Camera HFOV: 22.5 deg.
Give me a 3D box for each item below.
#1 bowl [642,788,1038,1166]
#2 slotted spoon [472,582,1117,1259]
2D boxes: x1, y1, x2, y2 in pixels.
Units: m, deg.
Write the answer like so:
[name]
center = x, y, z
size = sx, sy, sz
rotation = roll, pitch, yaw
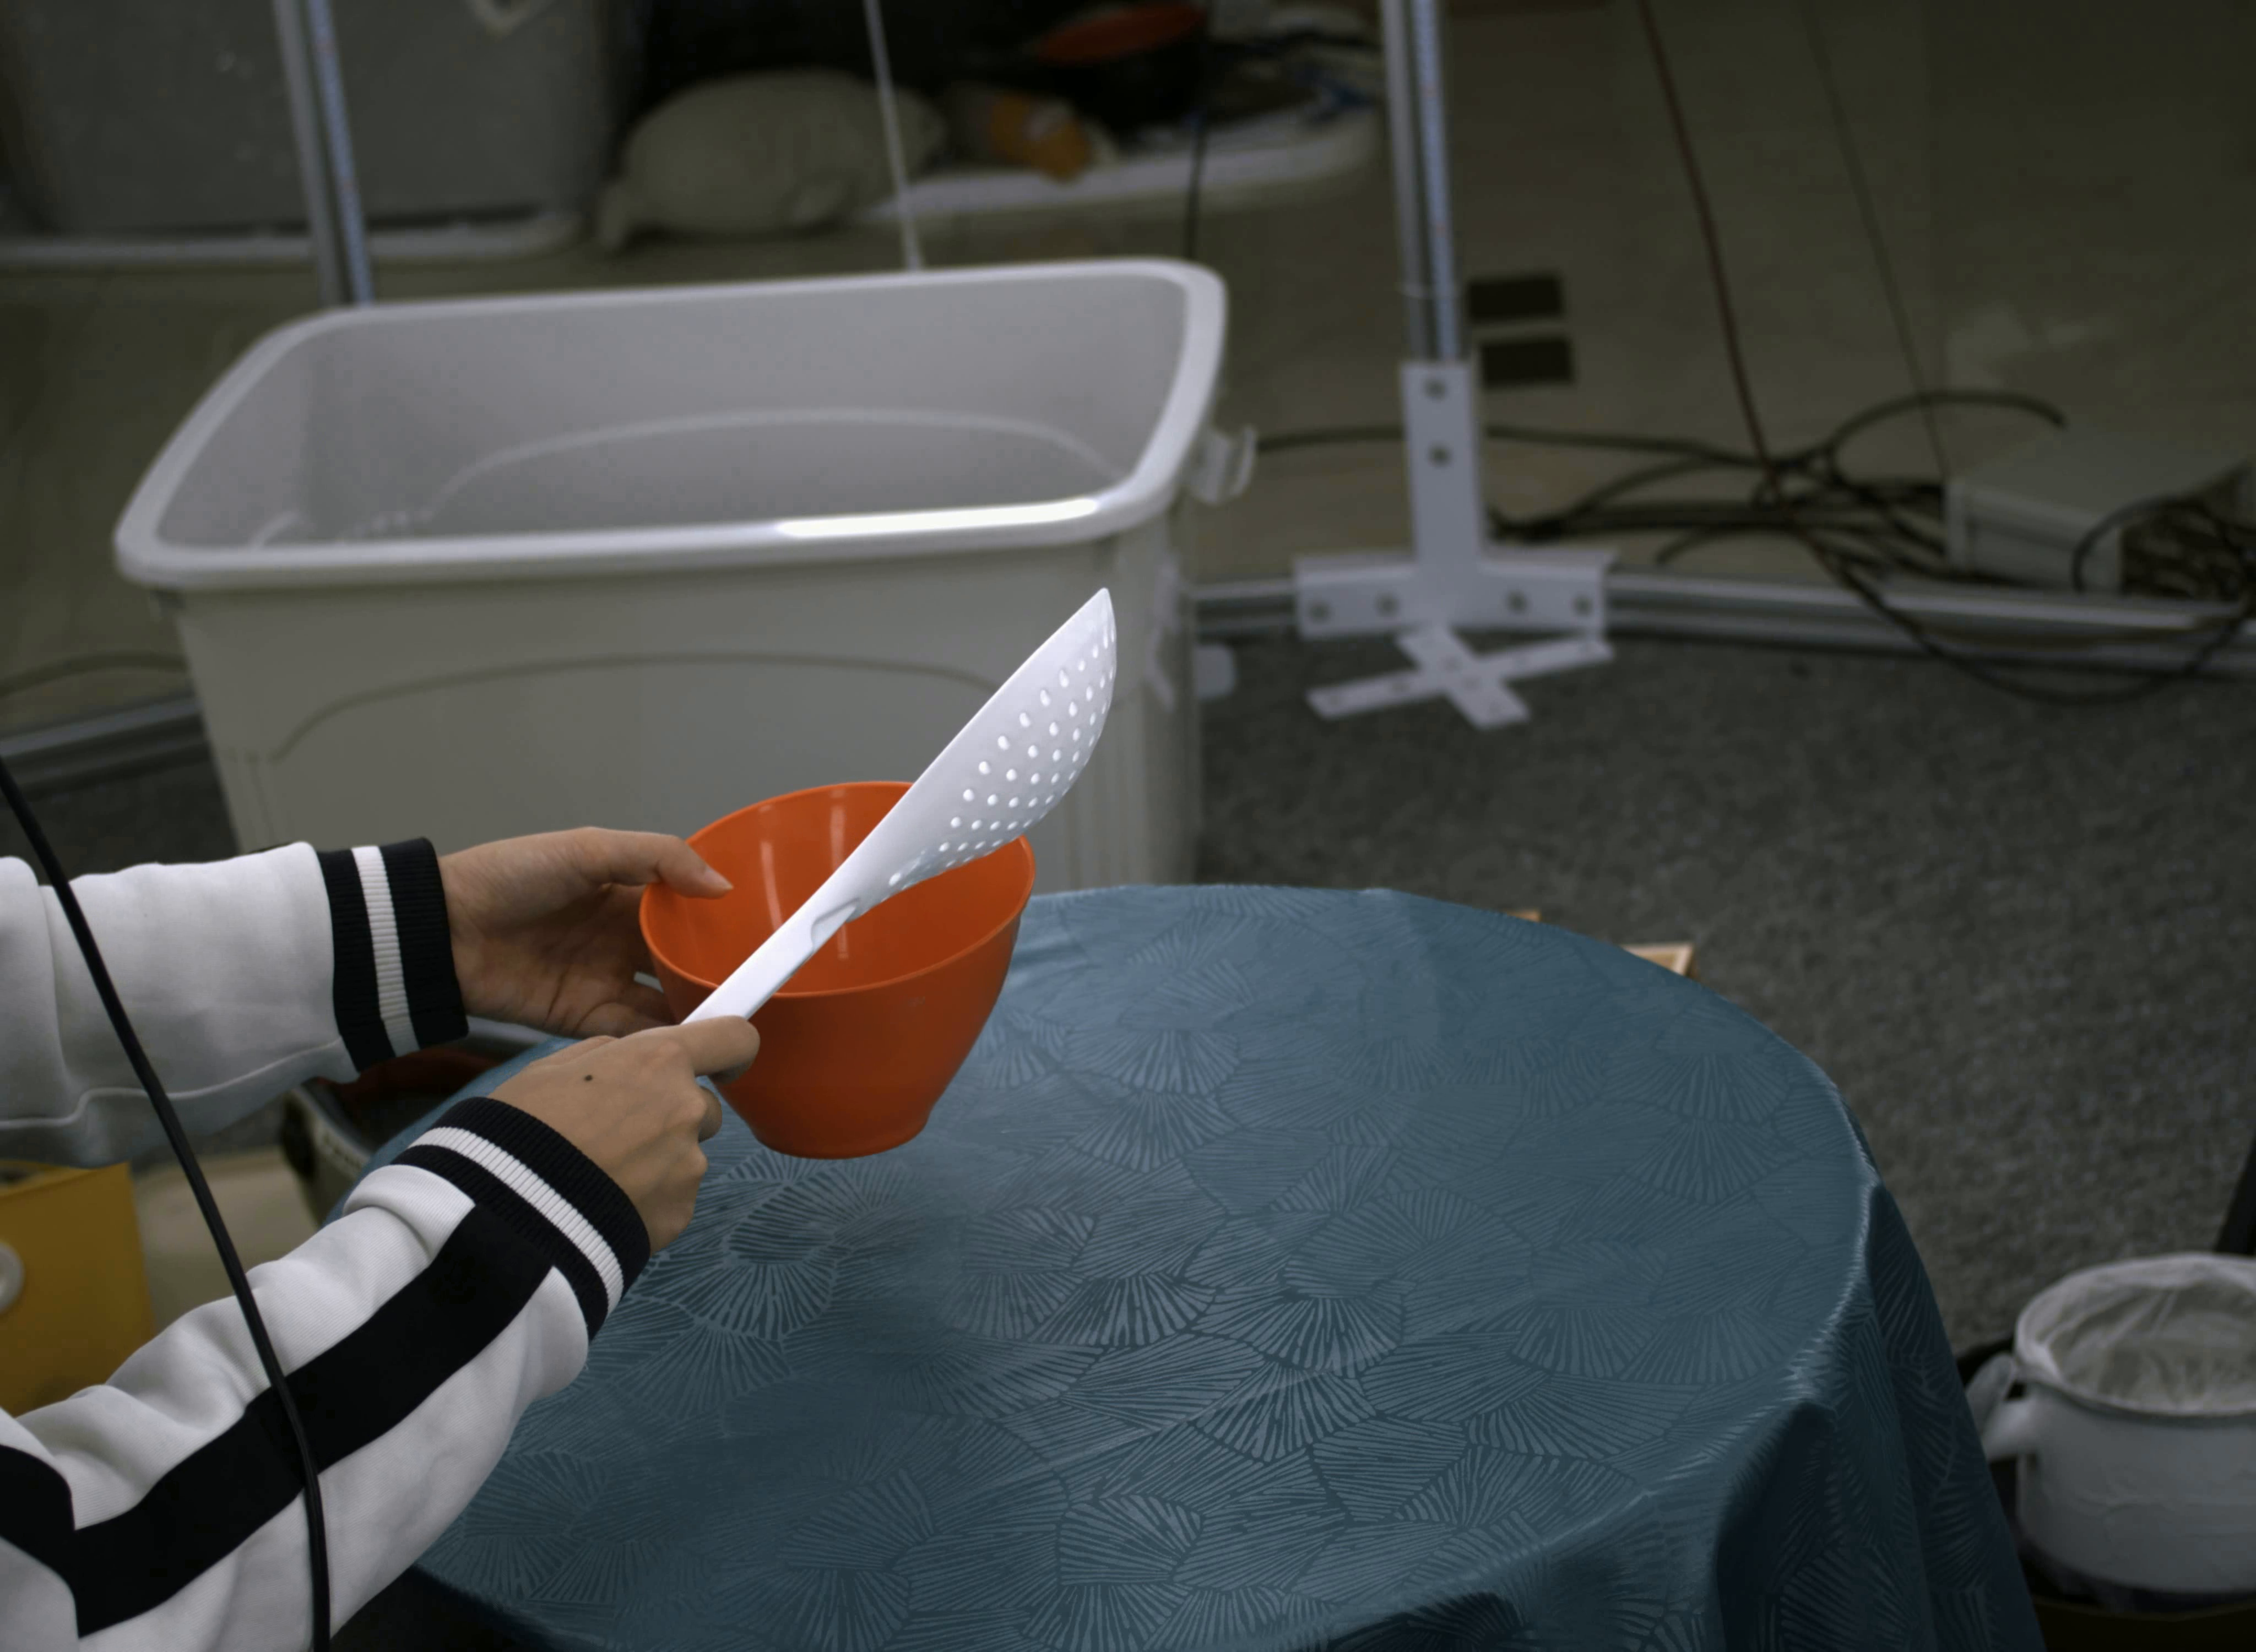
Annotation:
[bowl]
center = -0.105, 0.062, 2.112
size = 0.148, 0.106, 0.146
rotation = -2, 24, 1
[slotted spoon]
center = -0.110, 0.032, 1.961
size = 0.045, 0.138, 0.346
rotation = 47, 56, 4
